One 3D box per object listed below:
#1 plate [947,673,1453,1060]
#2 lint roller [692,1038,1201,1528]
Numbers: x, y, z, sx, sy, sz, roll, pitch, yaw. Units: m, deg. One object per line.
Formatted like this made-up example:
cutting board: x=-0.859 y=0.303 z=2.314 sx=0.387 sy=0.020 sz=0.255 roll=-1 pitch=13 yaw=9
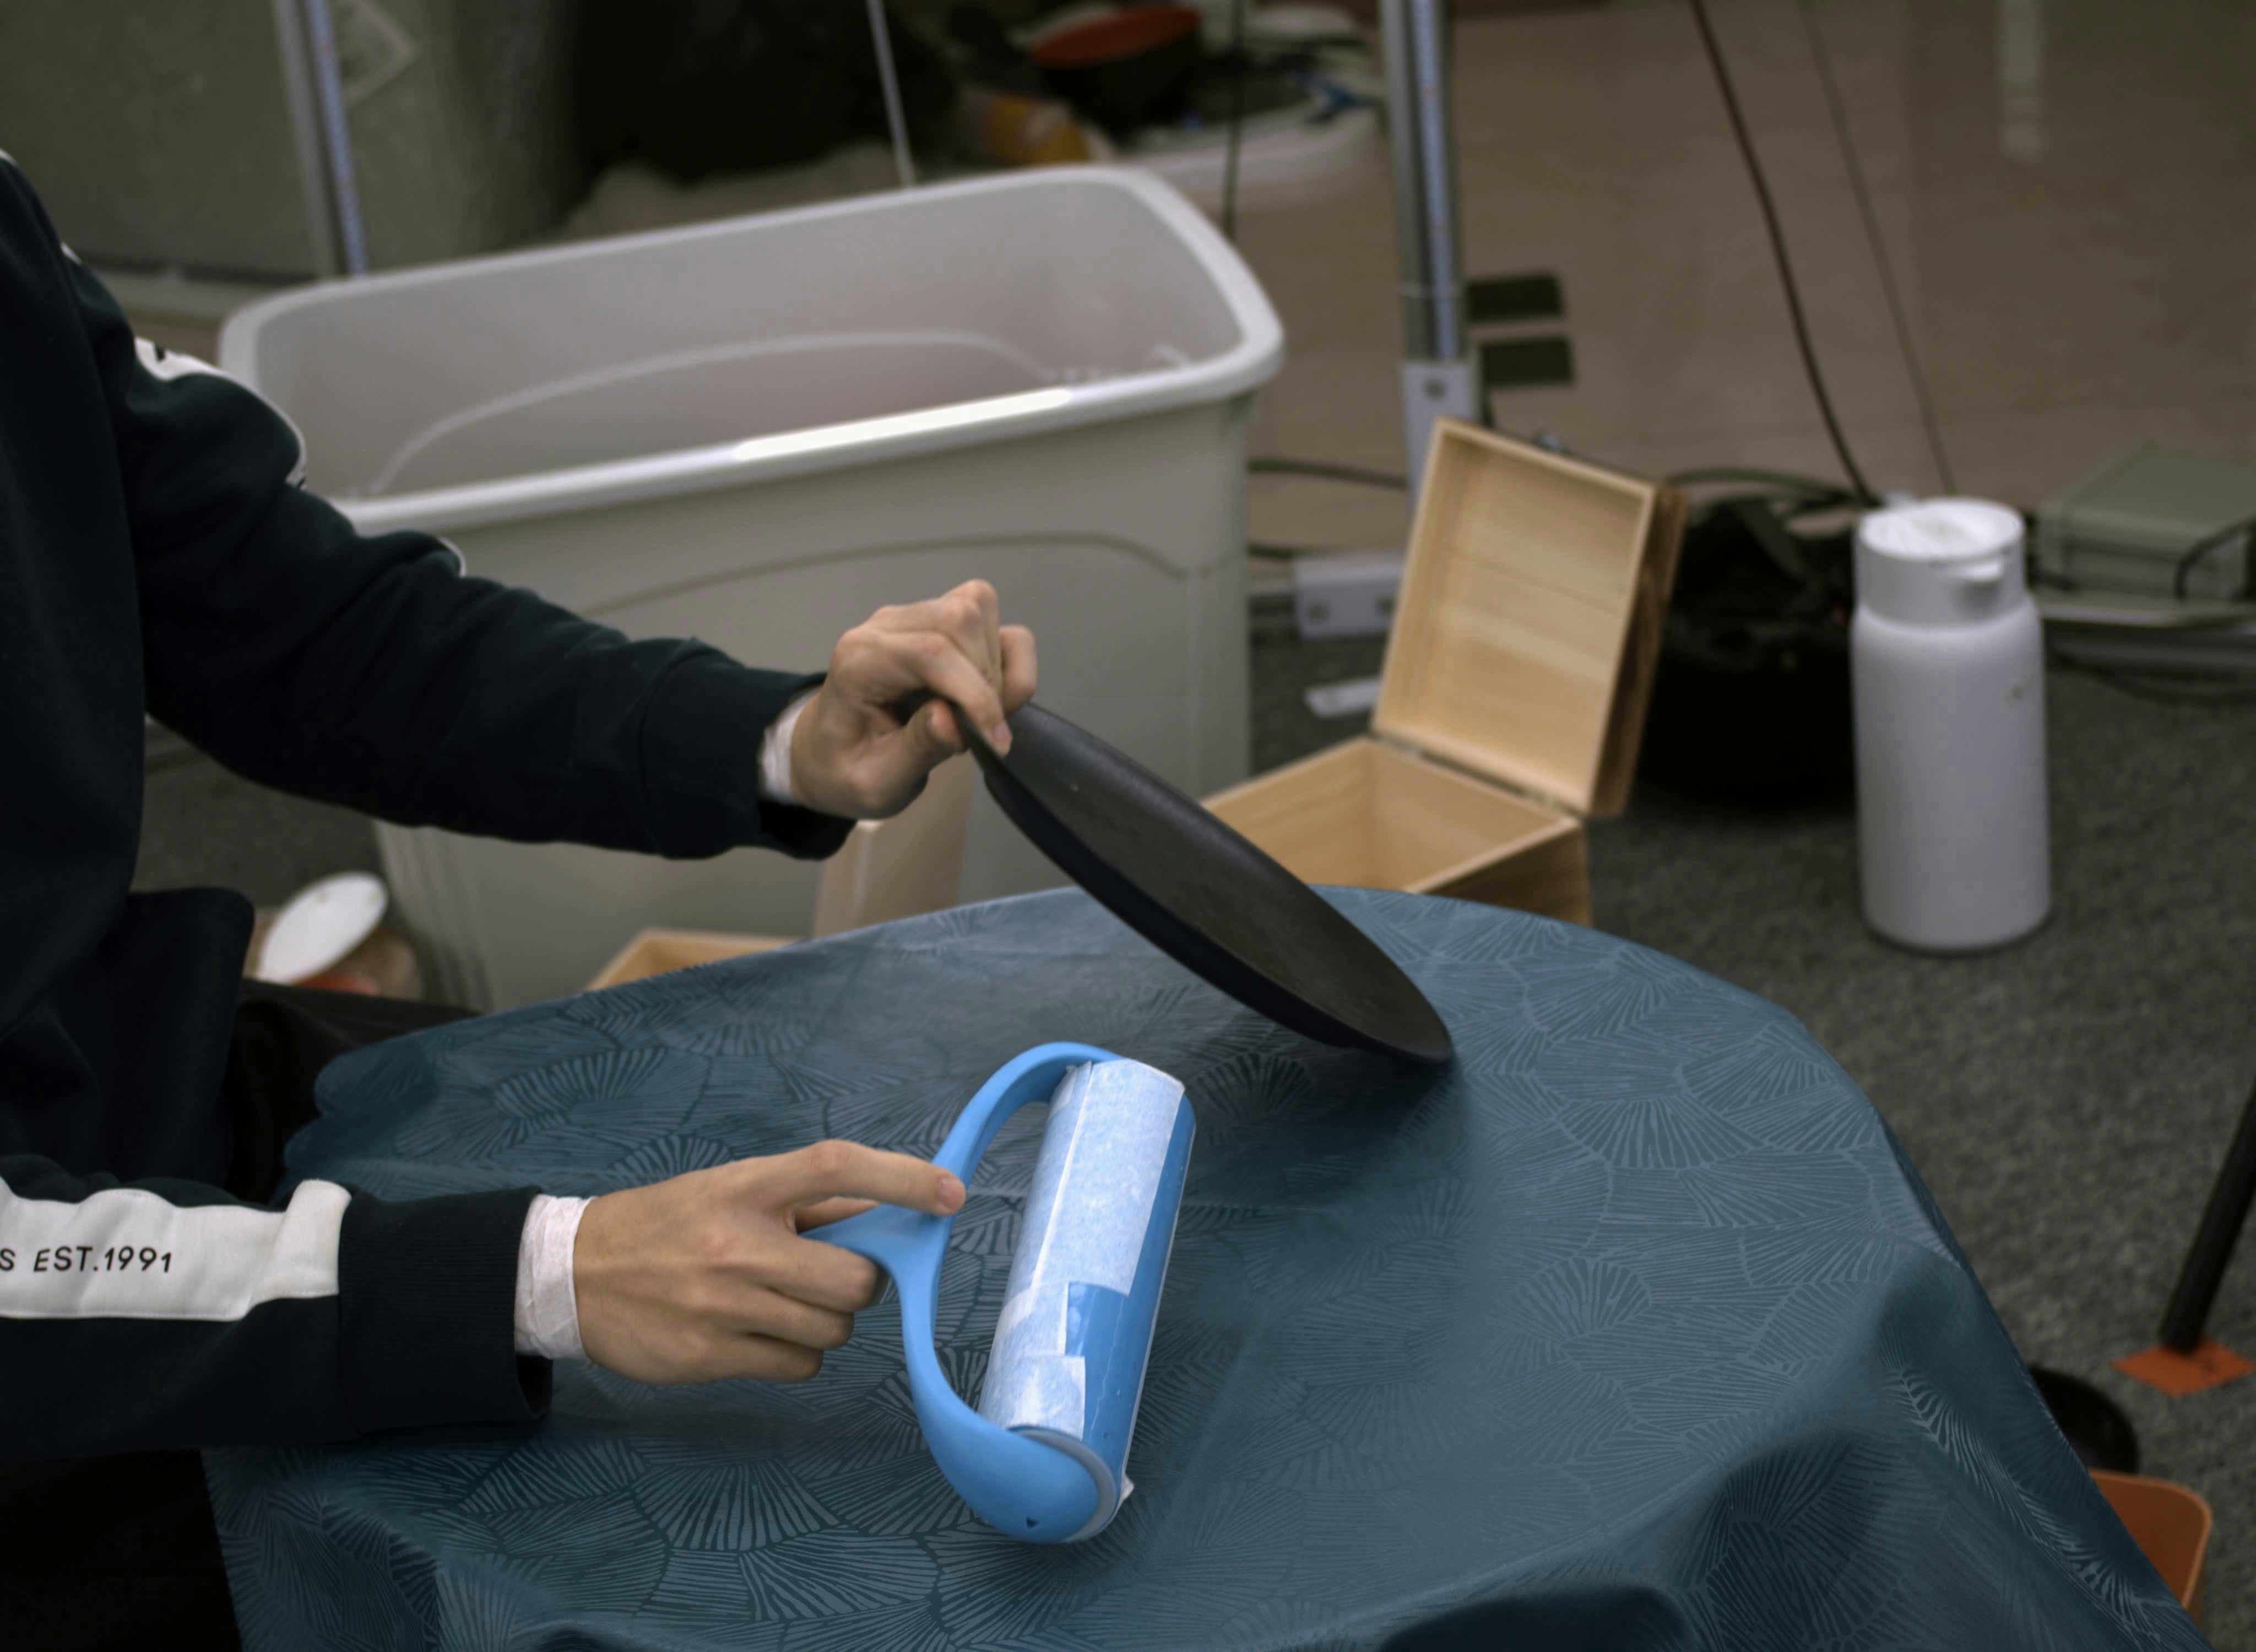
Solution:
plate: x=0.023 y=0.021 z=2.201 sx=0.245 sy=0.023 sz=0.242 roll=36 pitch=9 yaw=-7
lint roller: x=-0.071 y=0.162 z=1.977 sx=0.180 sy=0.069 sz=0.225 roll=-5 pitch=37 yaw=10
